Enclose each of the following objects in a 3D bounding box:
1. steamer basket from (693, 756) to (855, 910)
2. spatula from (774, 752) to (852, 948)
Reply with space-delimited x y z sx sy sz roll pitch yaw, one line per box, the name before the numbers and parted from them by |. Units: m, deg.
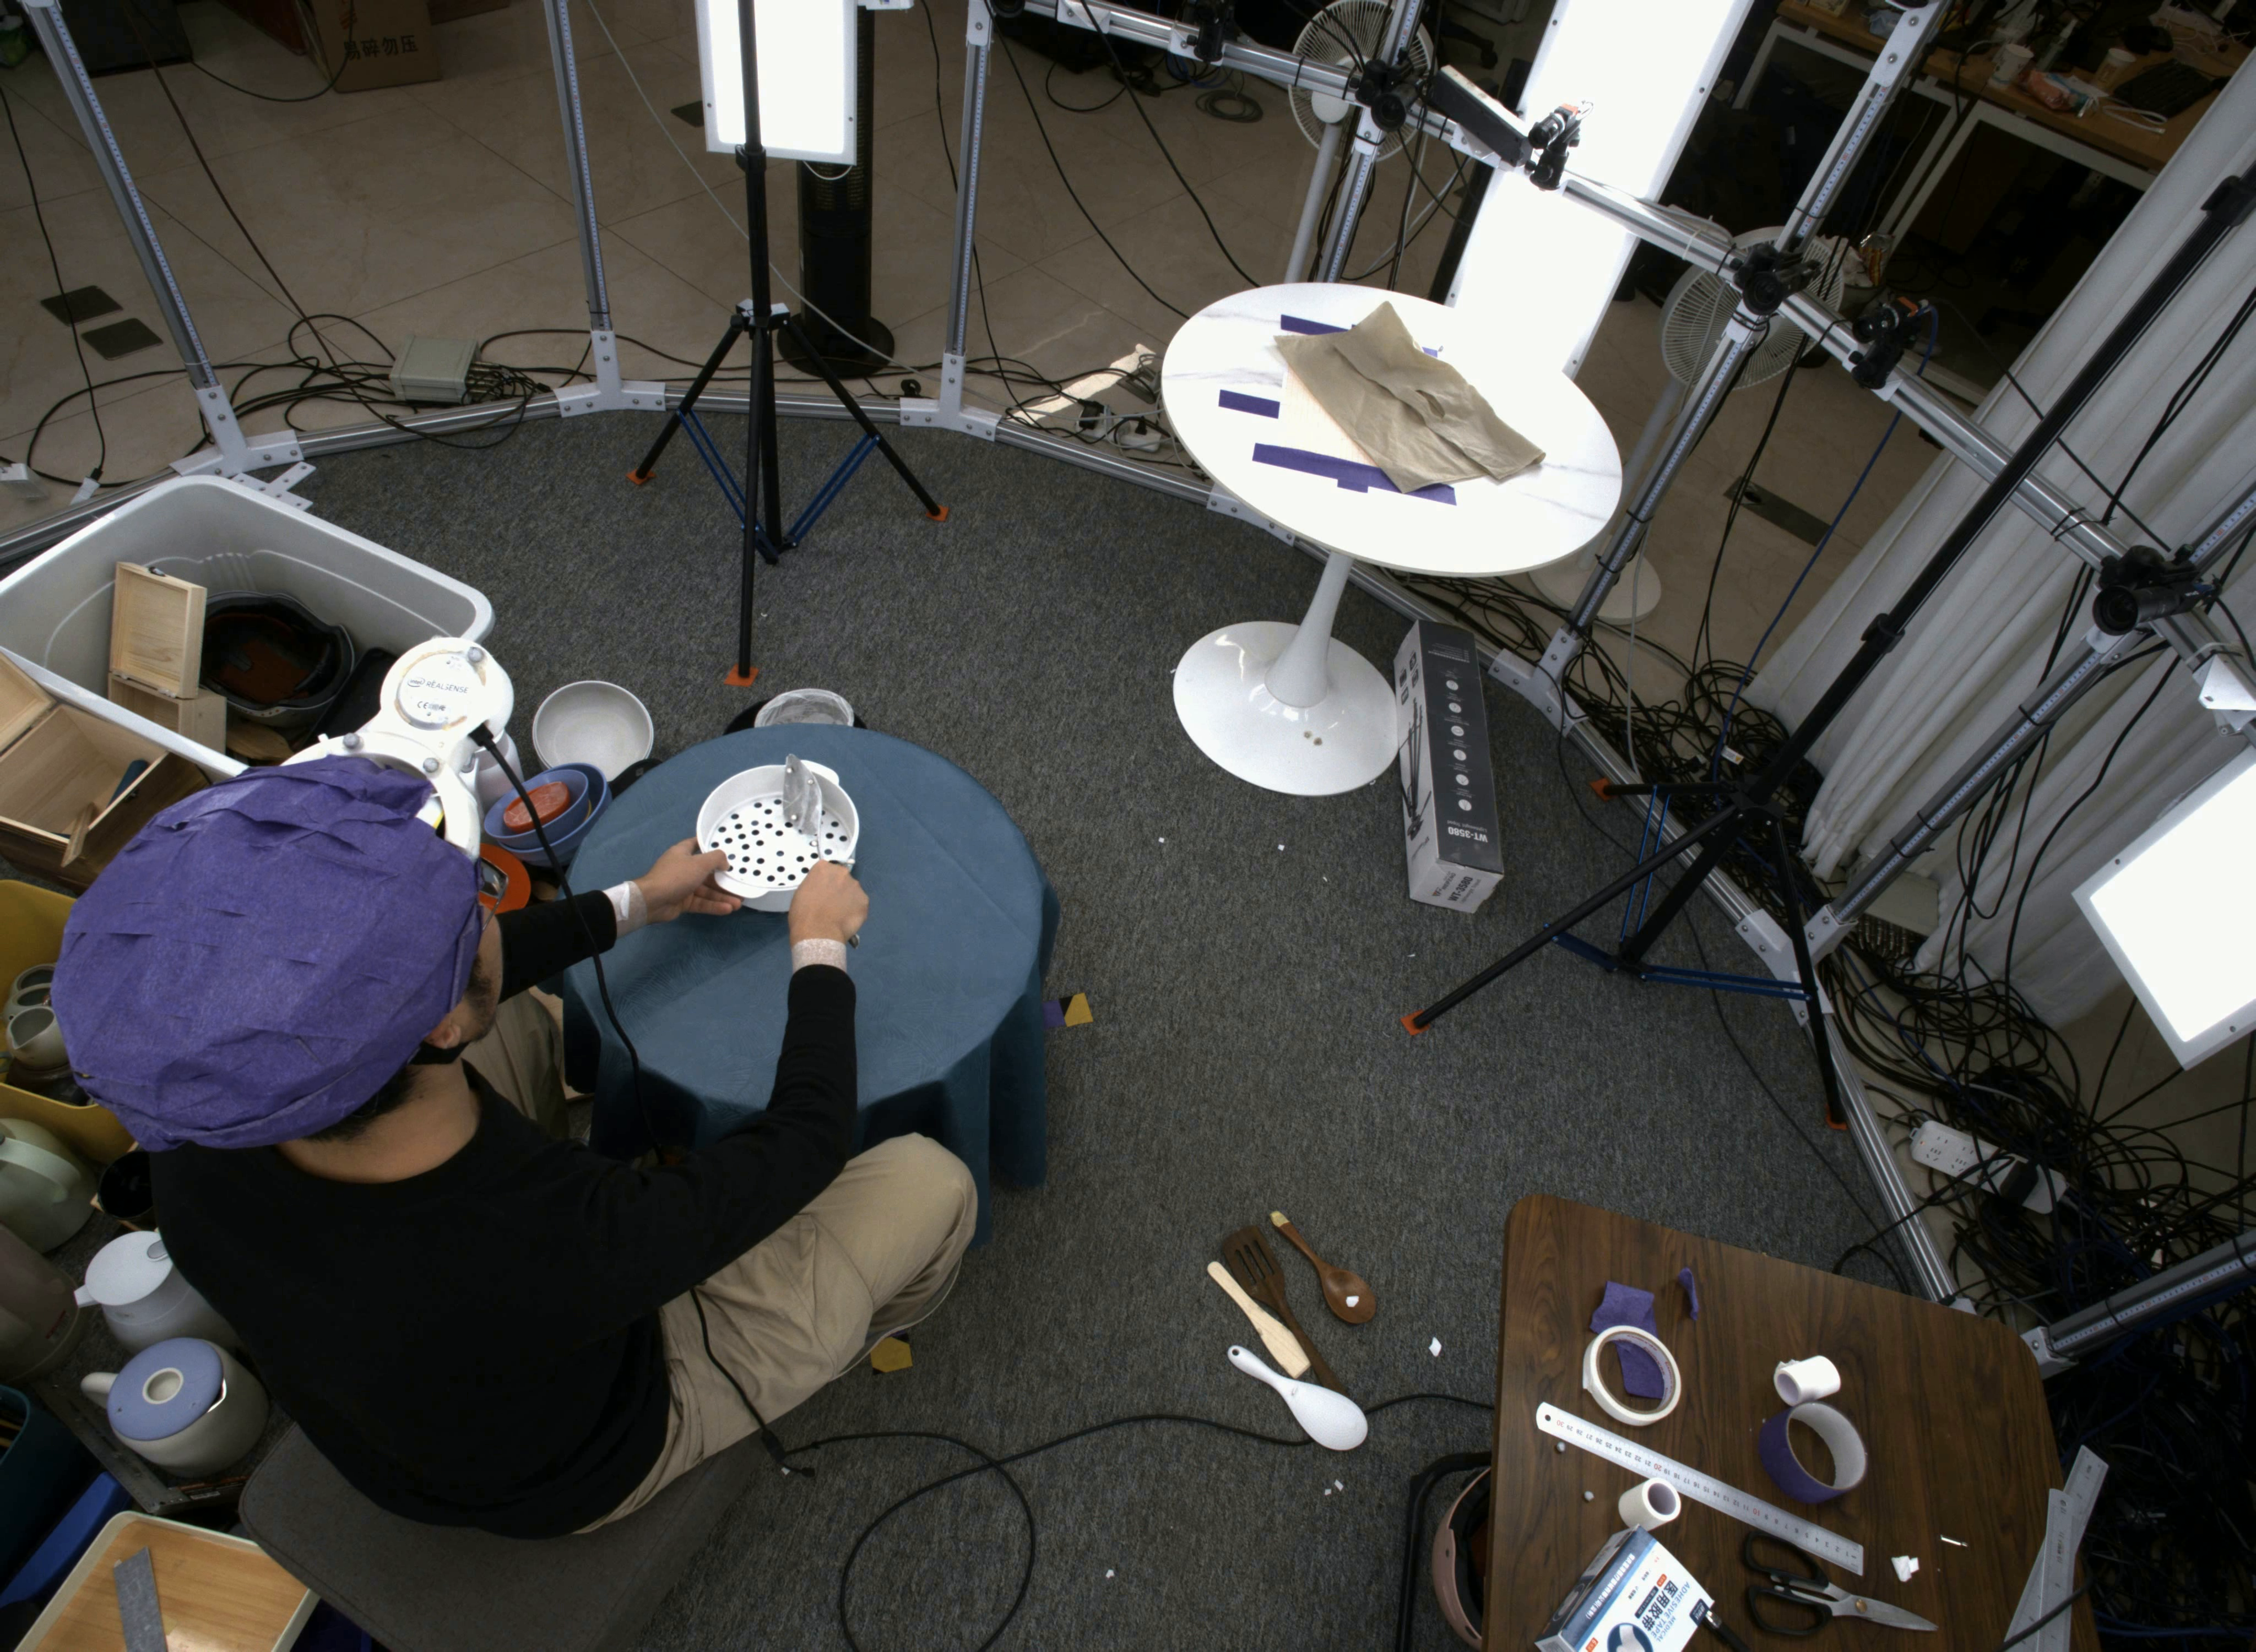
steamer basket | -0.450 0.012 1.657 0.199 0.070 0.228 21 52 3
spatula | -0.384 0.031 1.569 0.045 0.101 0.352 1 31 -24
